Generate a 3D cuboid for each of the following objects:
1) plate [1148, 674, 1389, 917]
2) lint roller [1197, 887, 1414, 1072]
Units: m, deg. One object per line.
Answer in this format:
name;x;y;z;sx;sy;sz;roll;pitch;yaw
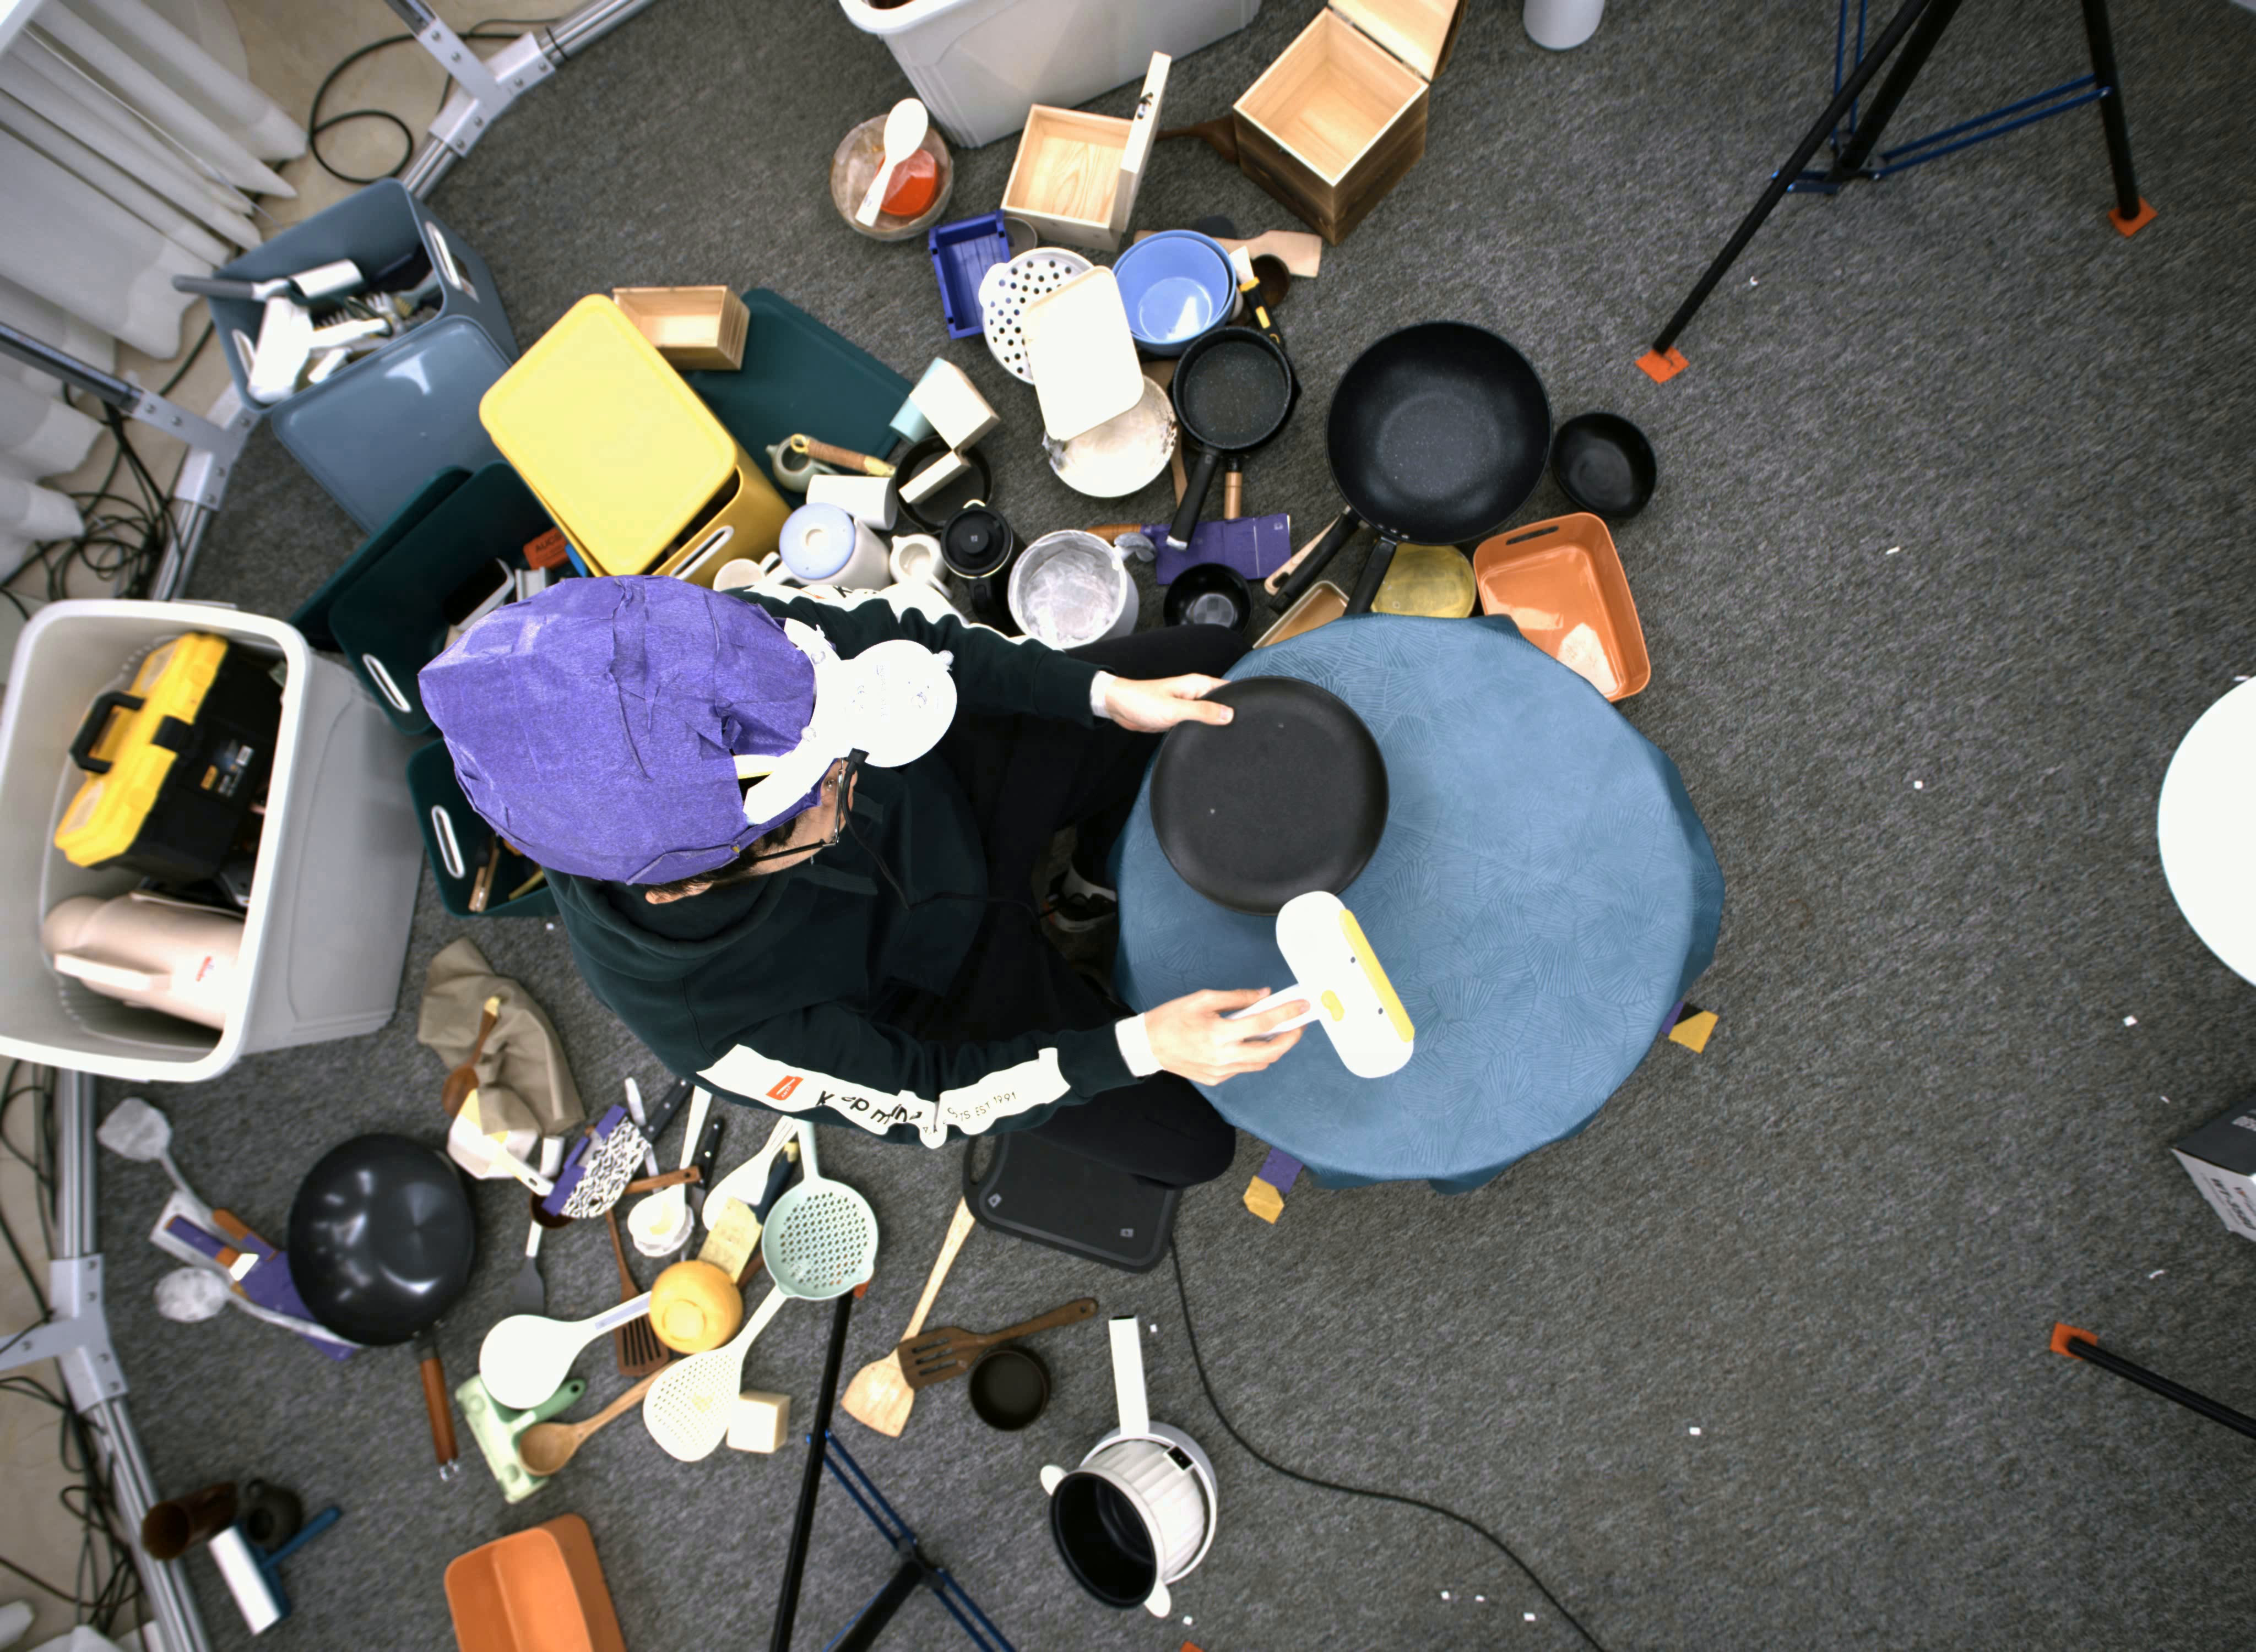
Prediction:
plate;0.141;-0.031;1.393;0.245;0.023;0.245;1;94;15
lint roller;0.152;0.171;1.314;0.195;0.072;0.194;-27;107;29
